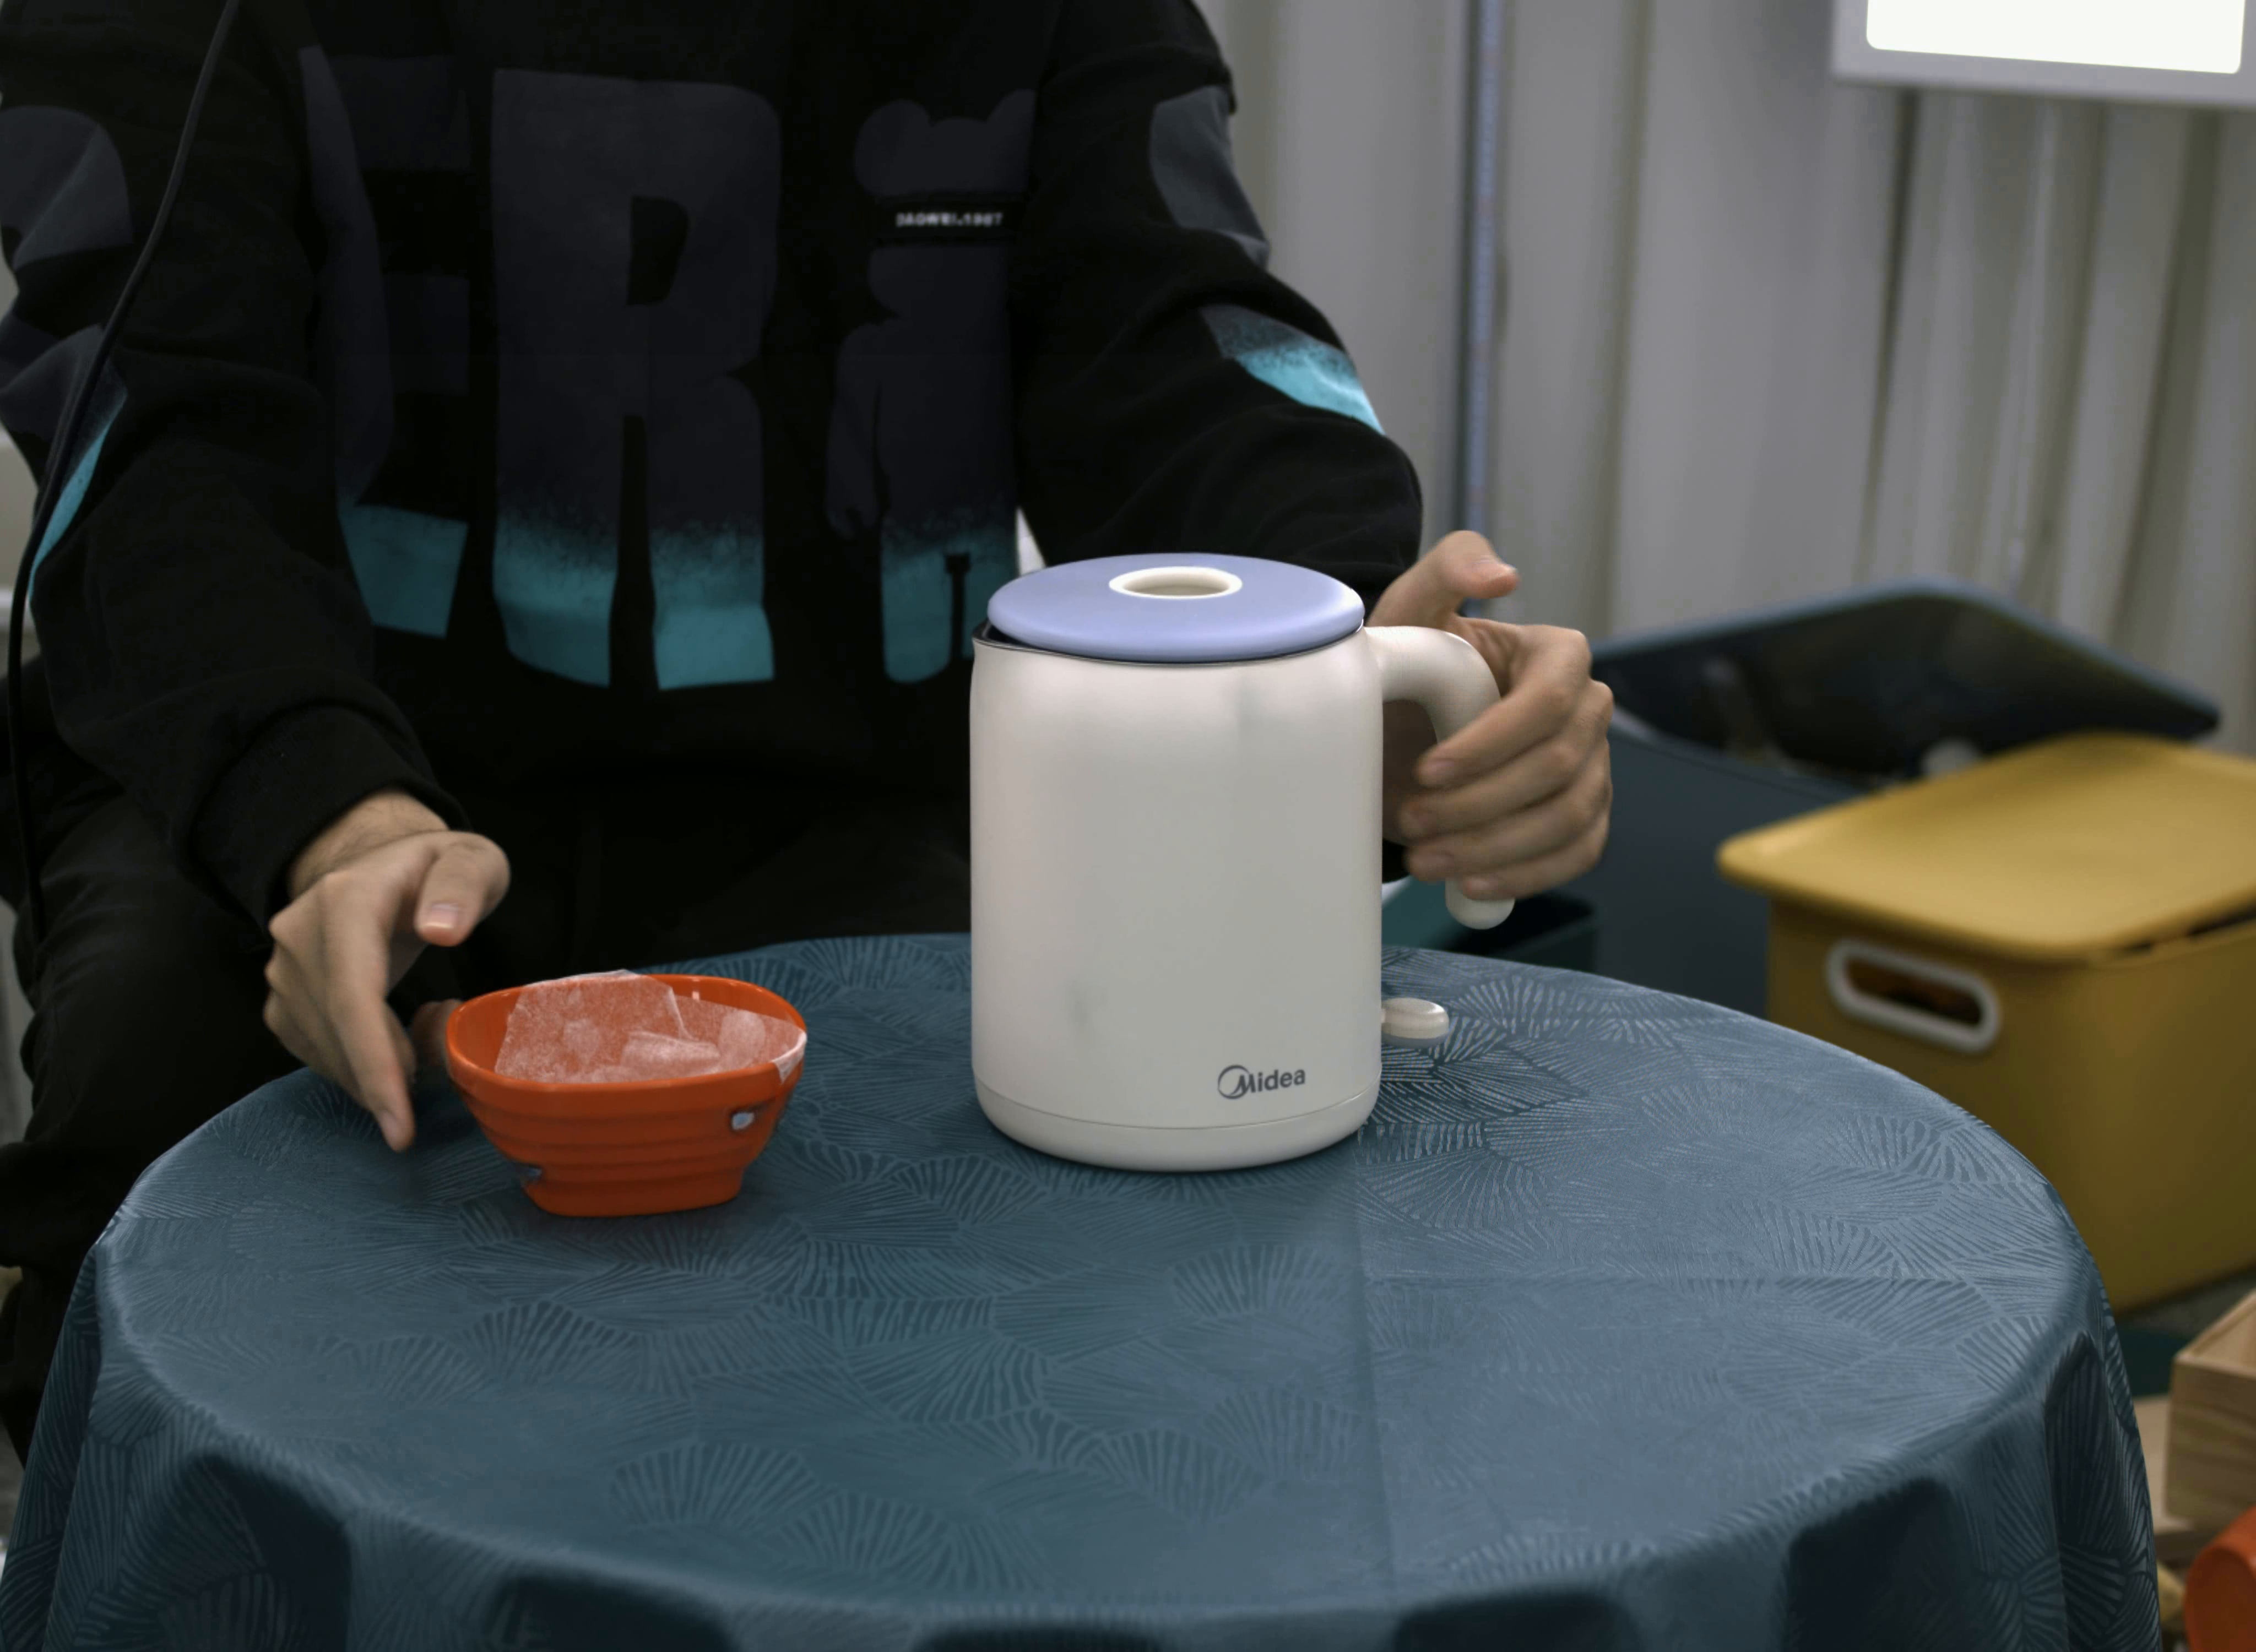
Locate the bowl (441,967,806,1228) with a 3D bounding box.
[{"bbox_3d":[-0.154,0.086,1.619,0.118,0.052,0.118,-2,19,1],"label":"bowl"}]

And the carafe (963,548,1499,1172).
[{"bbox_3d":[0.036,0.008,1.678,0.192,0.184,0.130,-5,18,-26],"label":"carafe"}]
